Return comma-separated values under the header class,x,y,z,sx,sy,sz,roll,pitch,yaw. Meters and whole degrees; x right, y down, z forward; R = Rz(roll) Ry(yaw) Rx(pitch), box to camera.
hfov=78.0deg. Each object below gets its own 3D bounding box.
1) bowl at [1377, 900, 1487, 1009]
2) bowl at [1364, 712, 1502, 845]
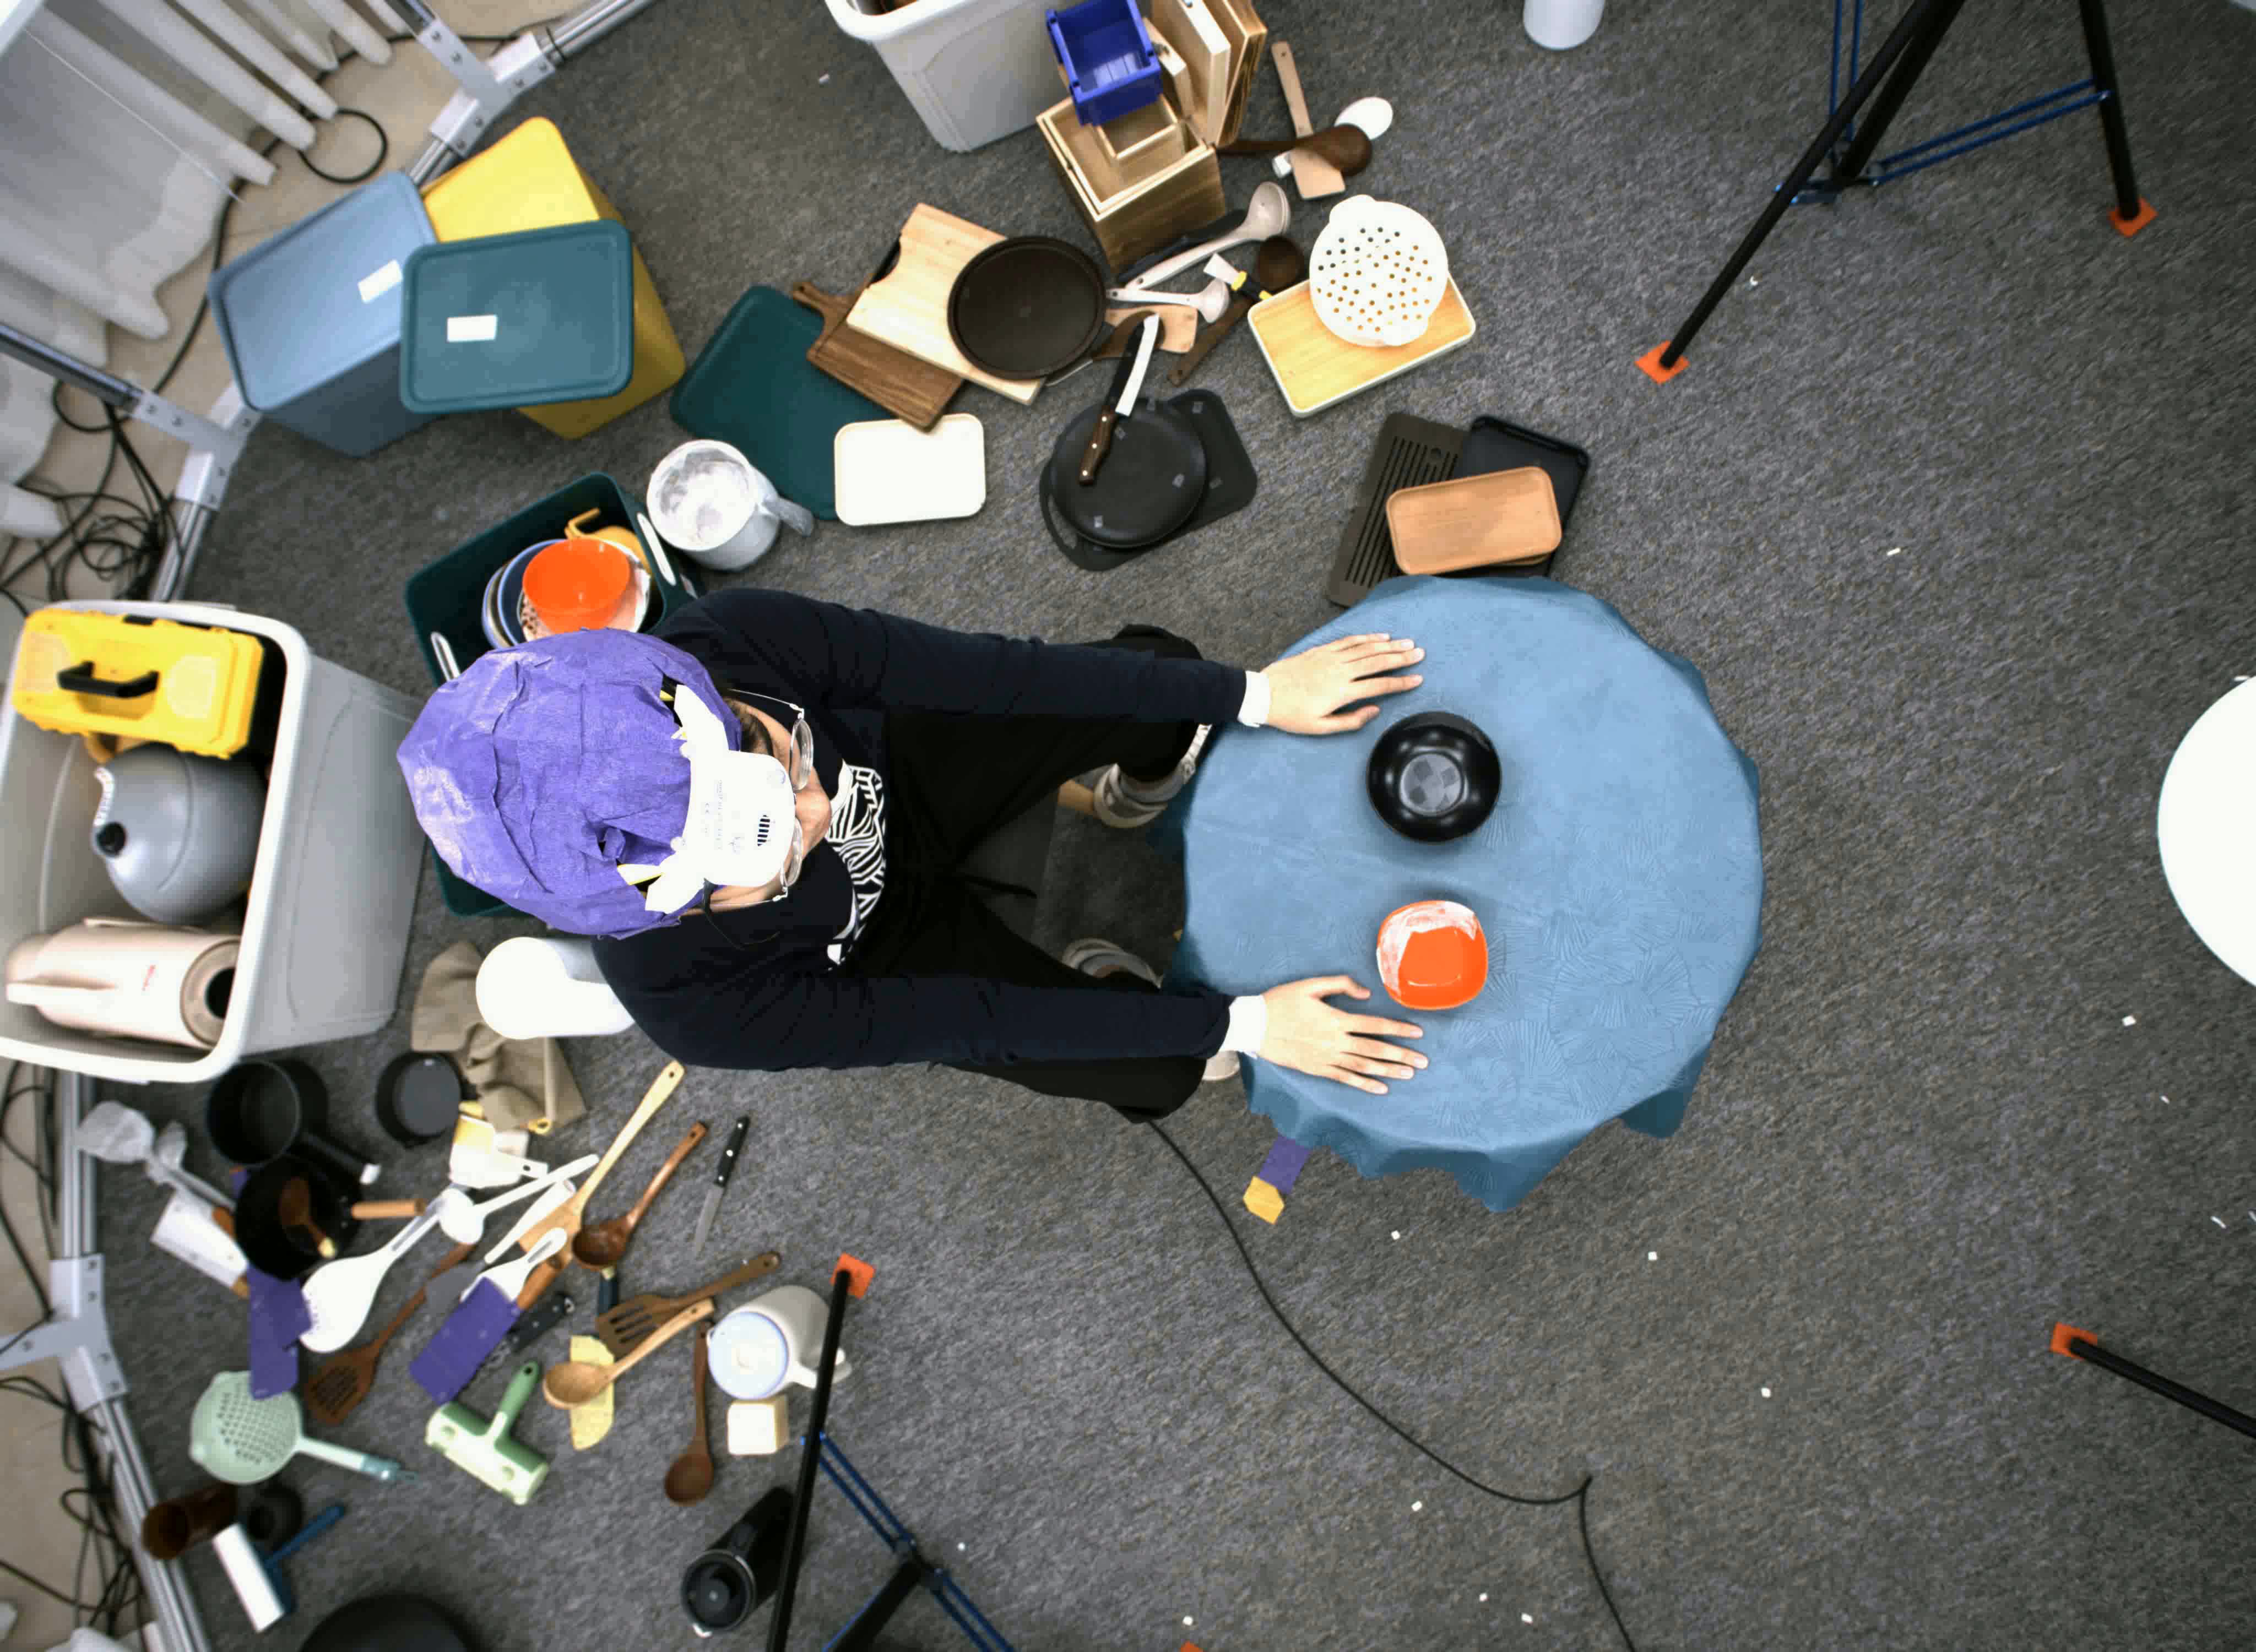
class,x,y,z,sx,sy,sz,roll,pitch,yaw
bowl,0.312,0.131,1.422,0.119,0.051,0.118,-1,87,9
bowl,0.318,-0.049,1.436,0.141,0.050,0.139,-1,86,15
